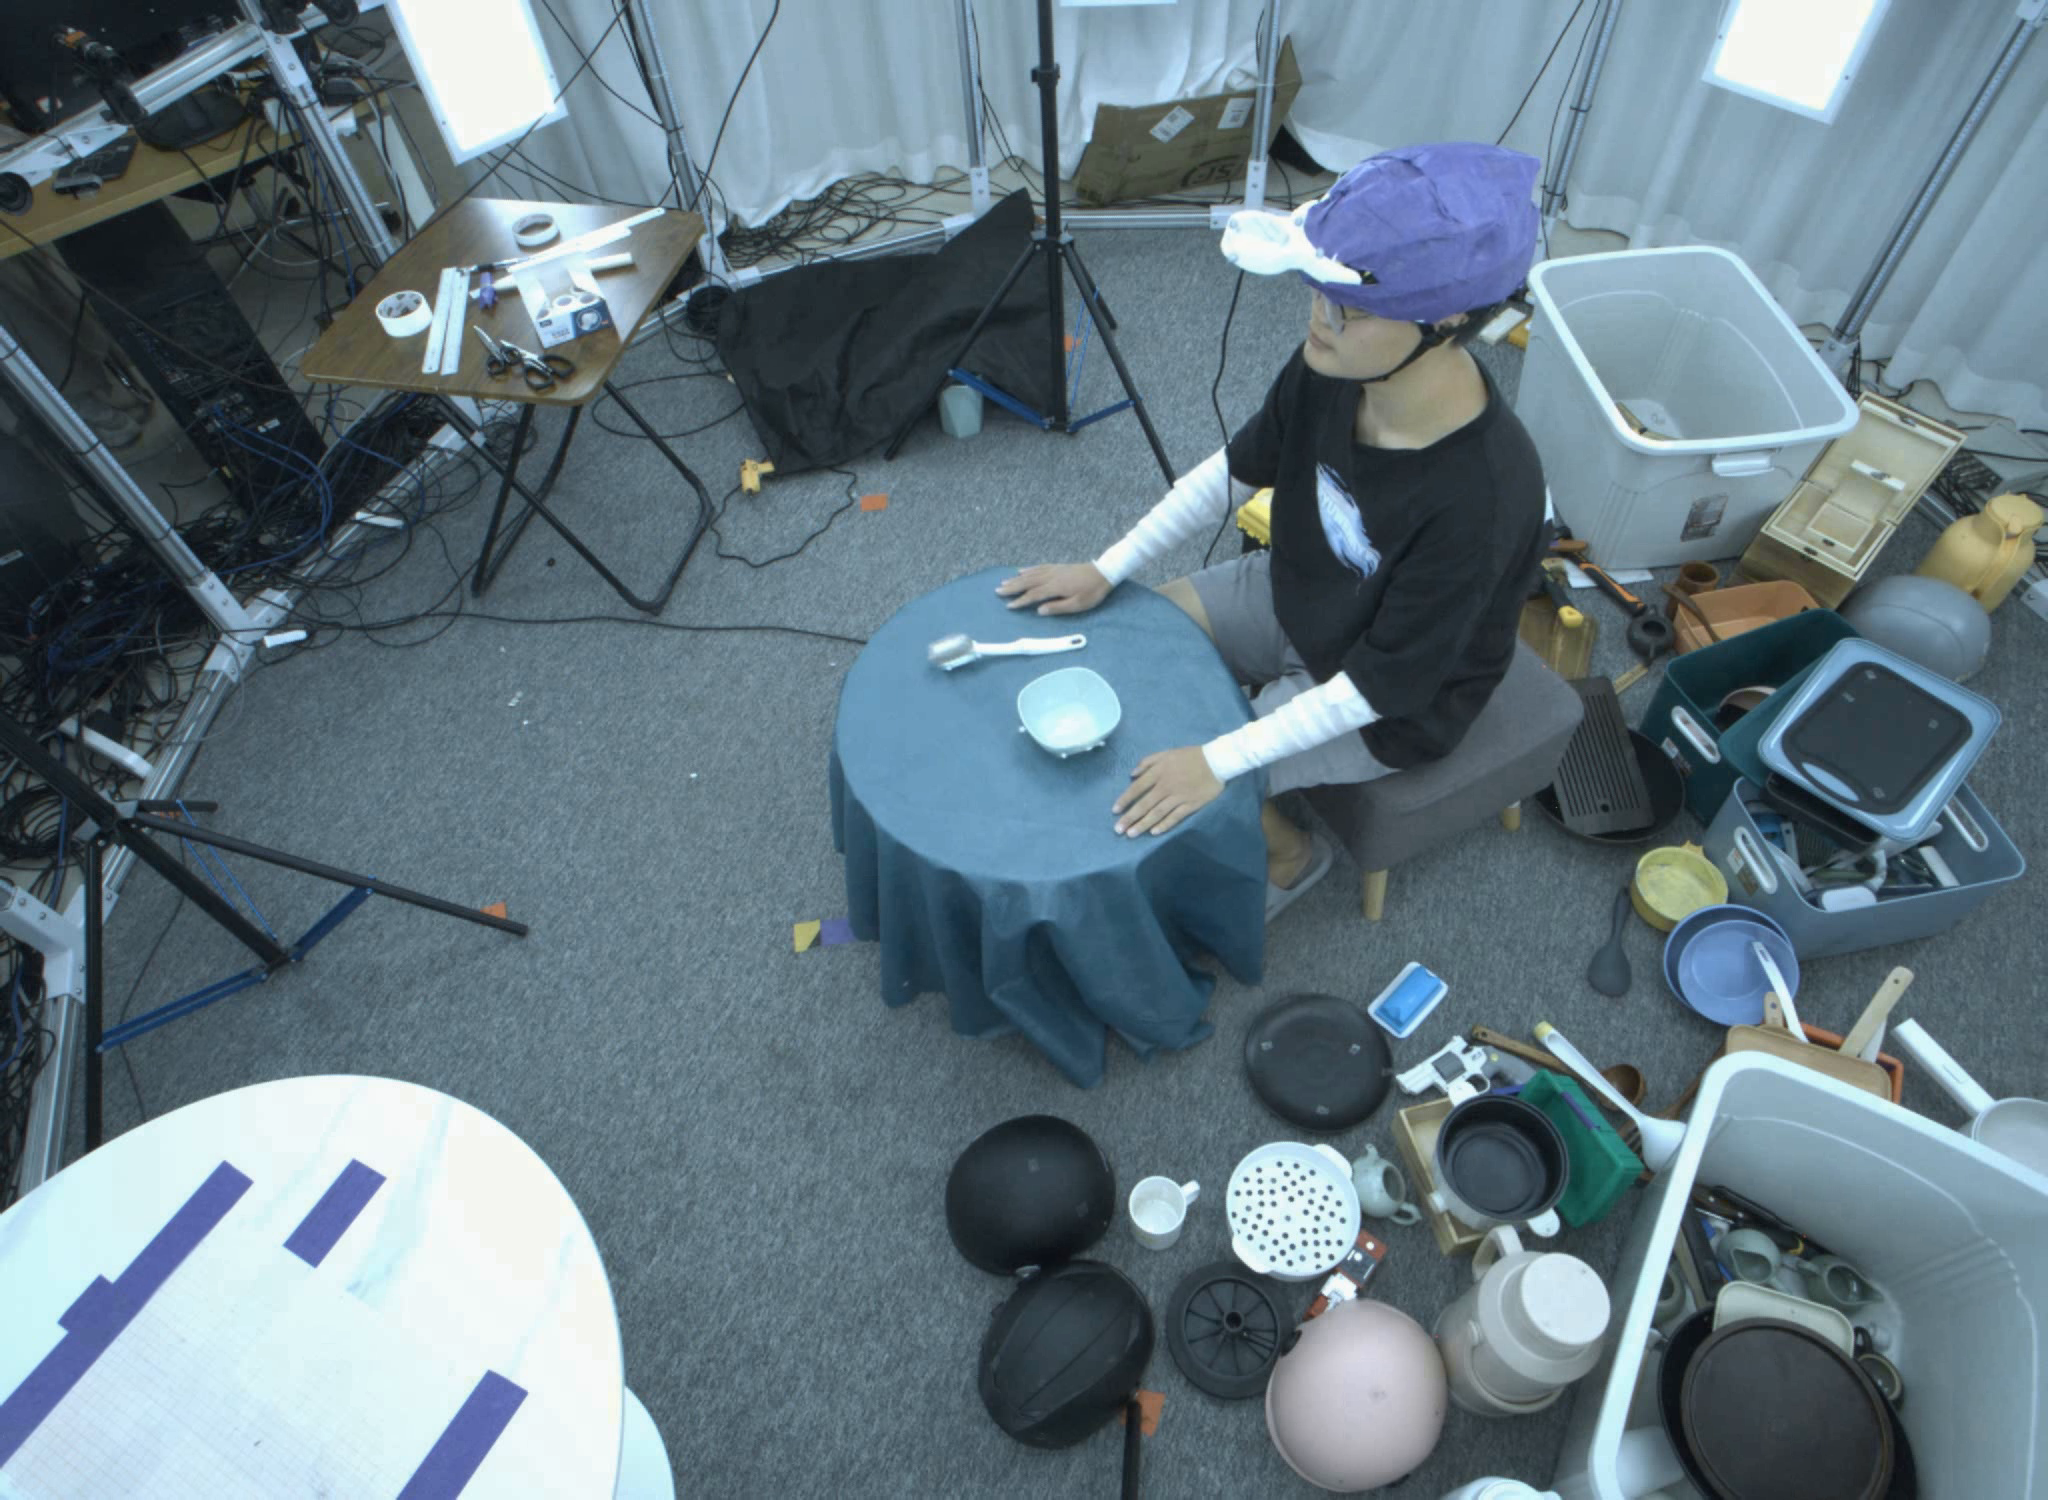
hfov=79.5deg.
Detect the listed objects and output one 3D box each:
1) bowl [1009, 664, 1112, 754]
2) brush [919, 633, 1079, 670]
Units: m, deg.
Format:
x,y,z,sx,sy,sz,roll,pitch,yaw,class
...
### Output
x,y,z,sx,sy,sz,roll,pitch,yaw,class
0.053,-0.049,1.777,0.151,0.059,0.150,0,56,2,bowl
-0.038,-0.163,1.864,0.244,0.051,0.034,-8,54,-3,brush
